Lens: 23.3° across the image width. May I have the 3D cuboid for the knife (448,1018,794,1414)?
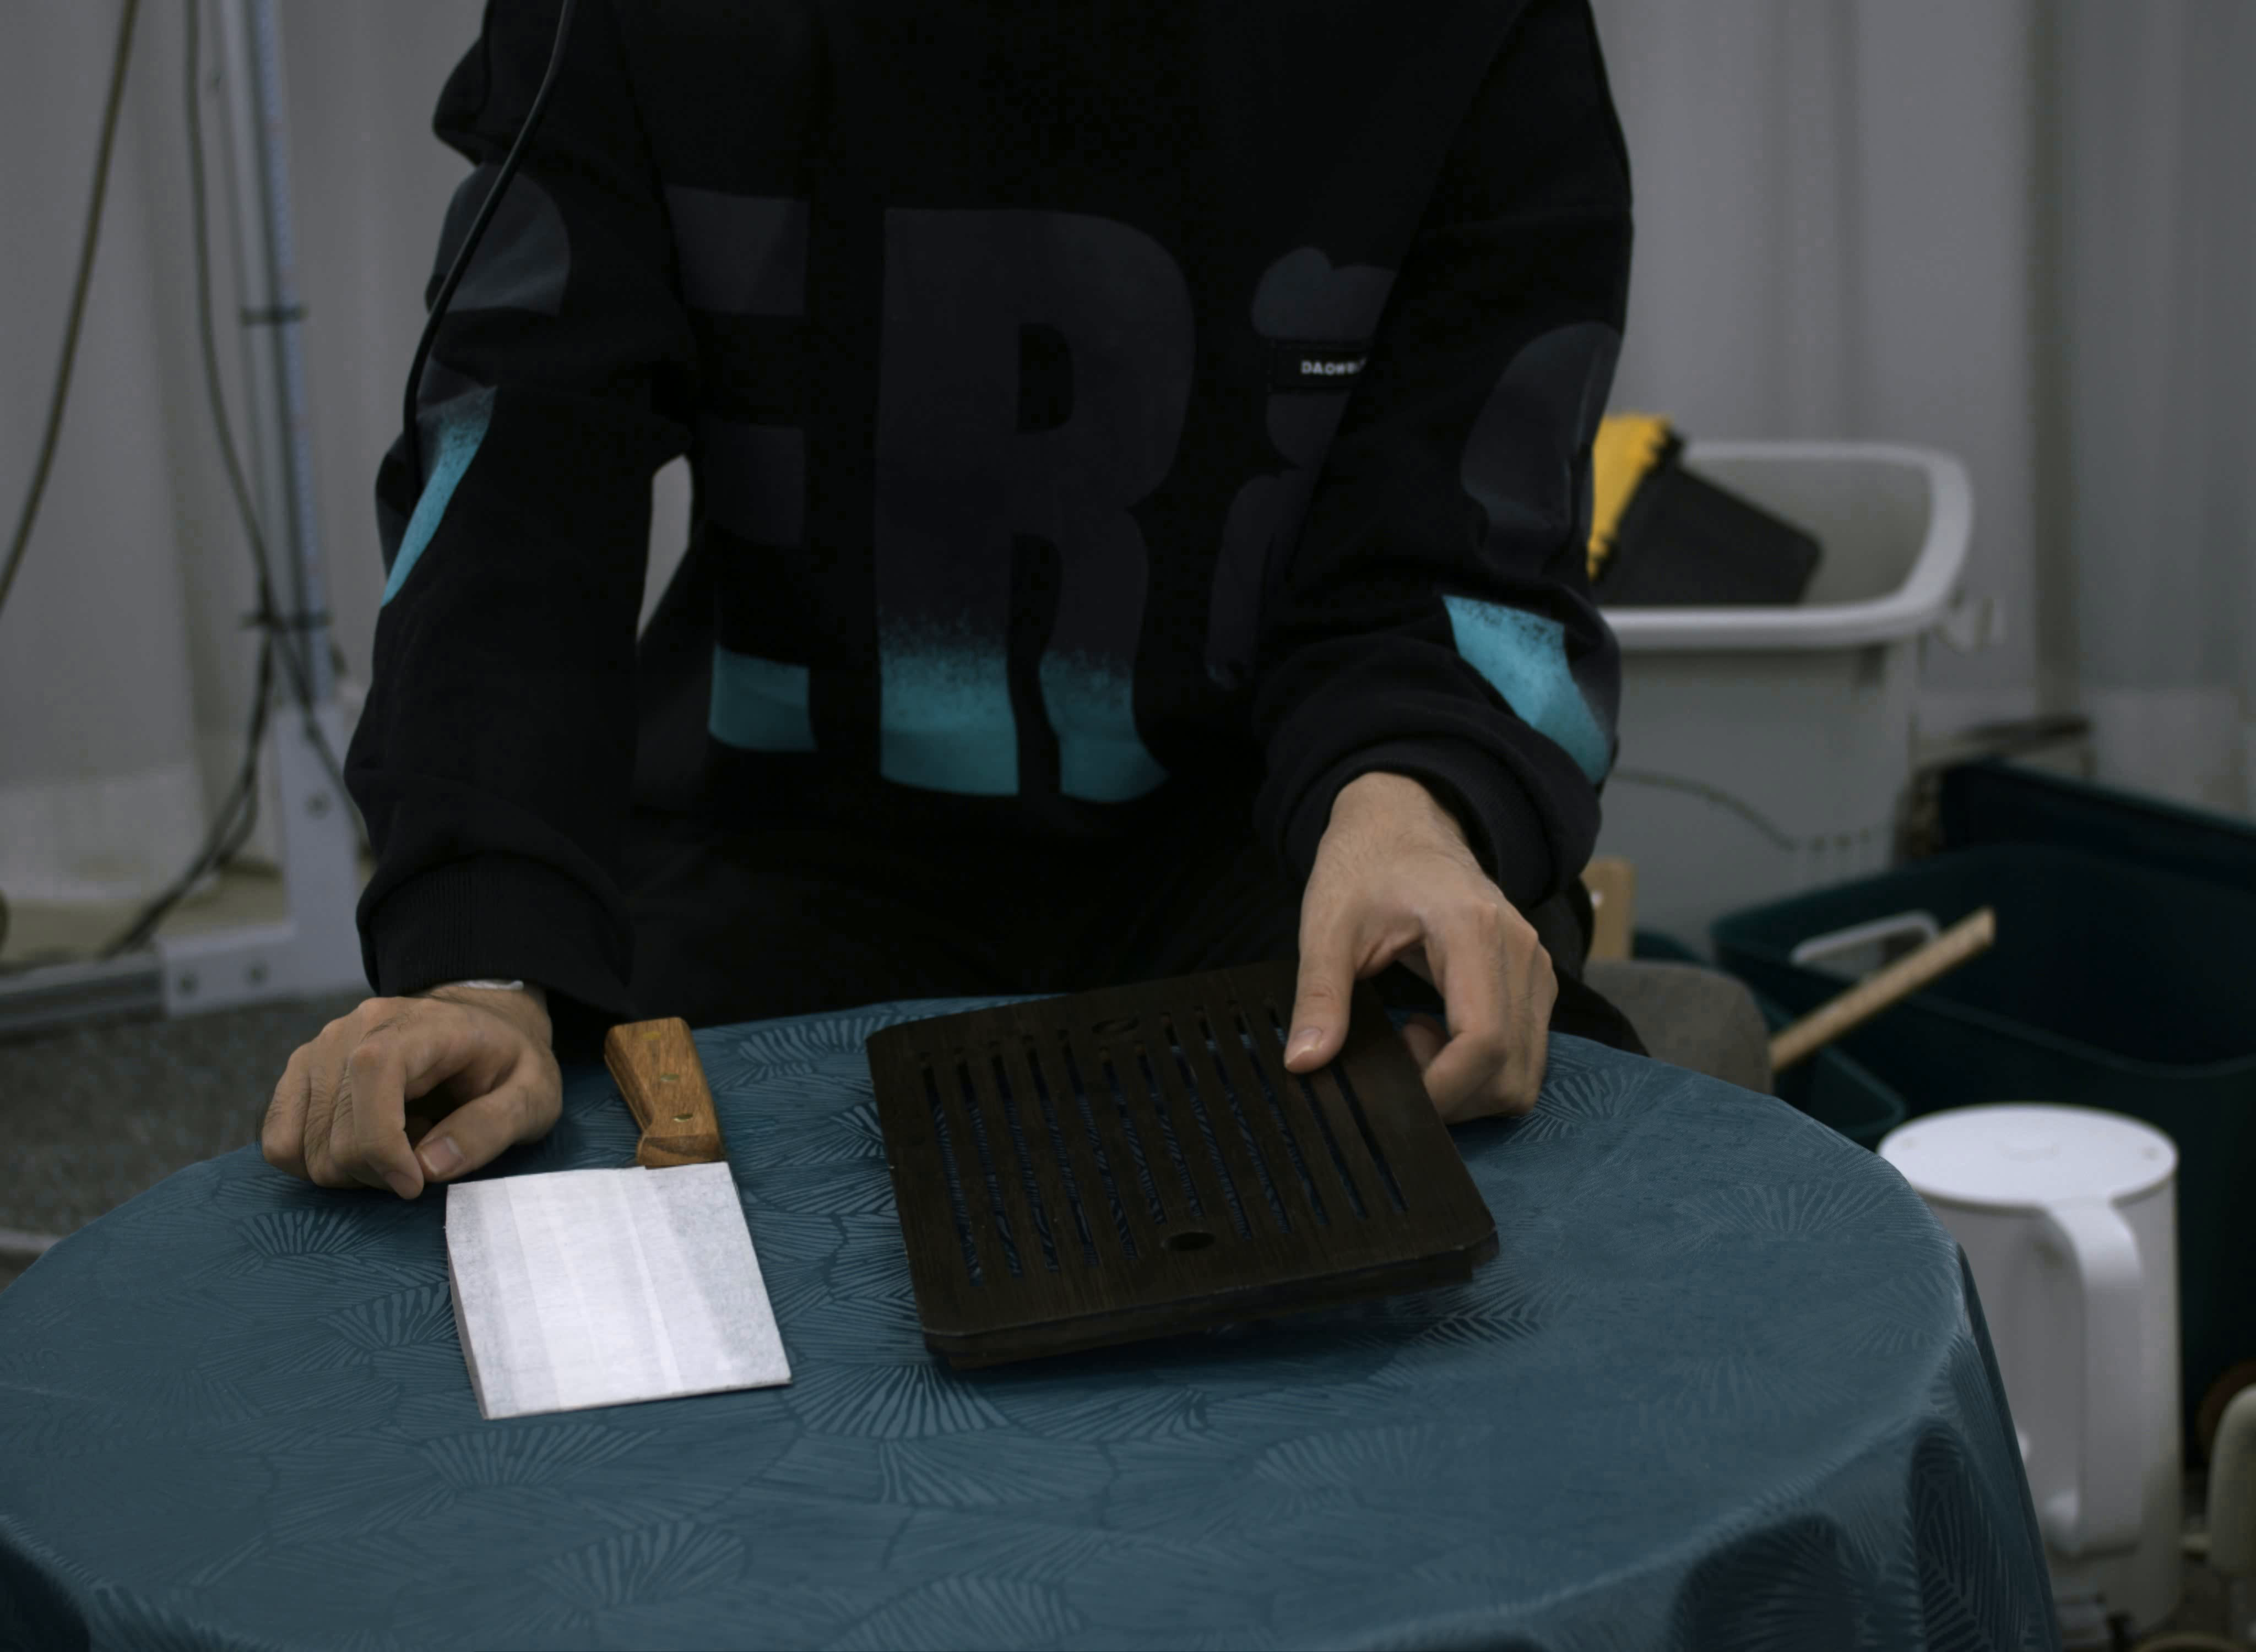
[{"bbox_3d":[-0.164,0.120,1.700,0.092,0.021,0.308,-7,18,-8],"label":"knife"}]

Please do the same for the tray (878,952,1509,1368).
[{"bbox_3d":[0.013,0.101,1.705,0.169,0.018,0.308,-9,16,-3],"label":"tray"}]
